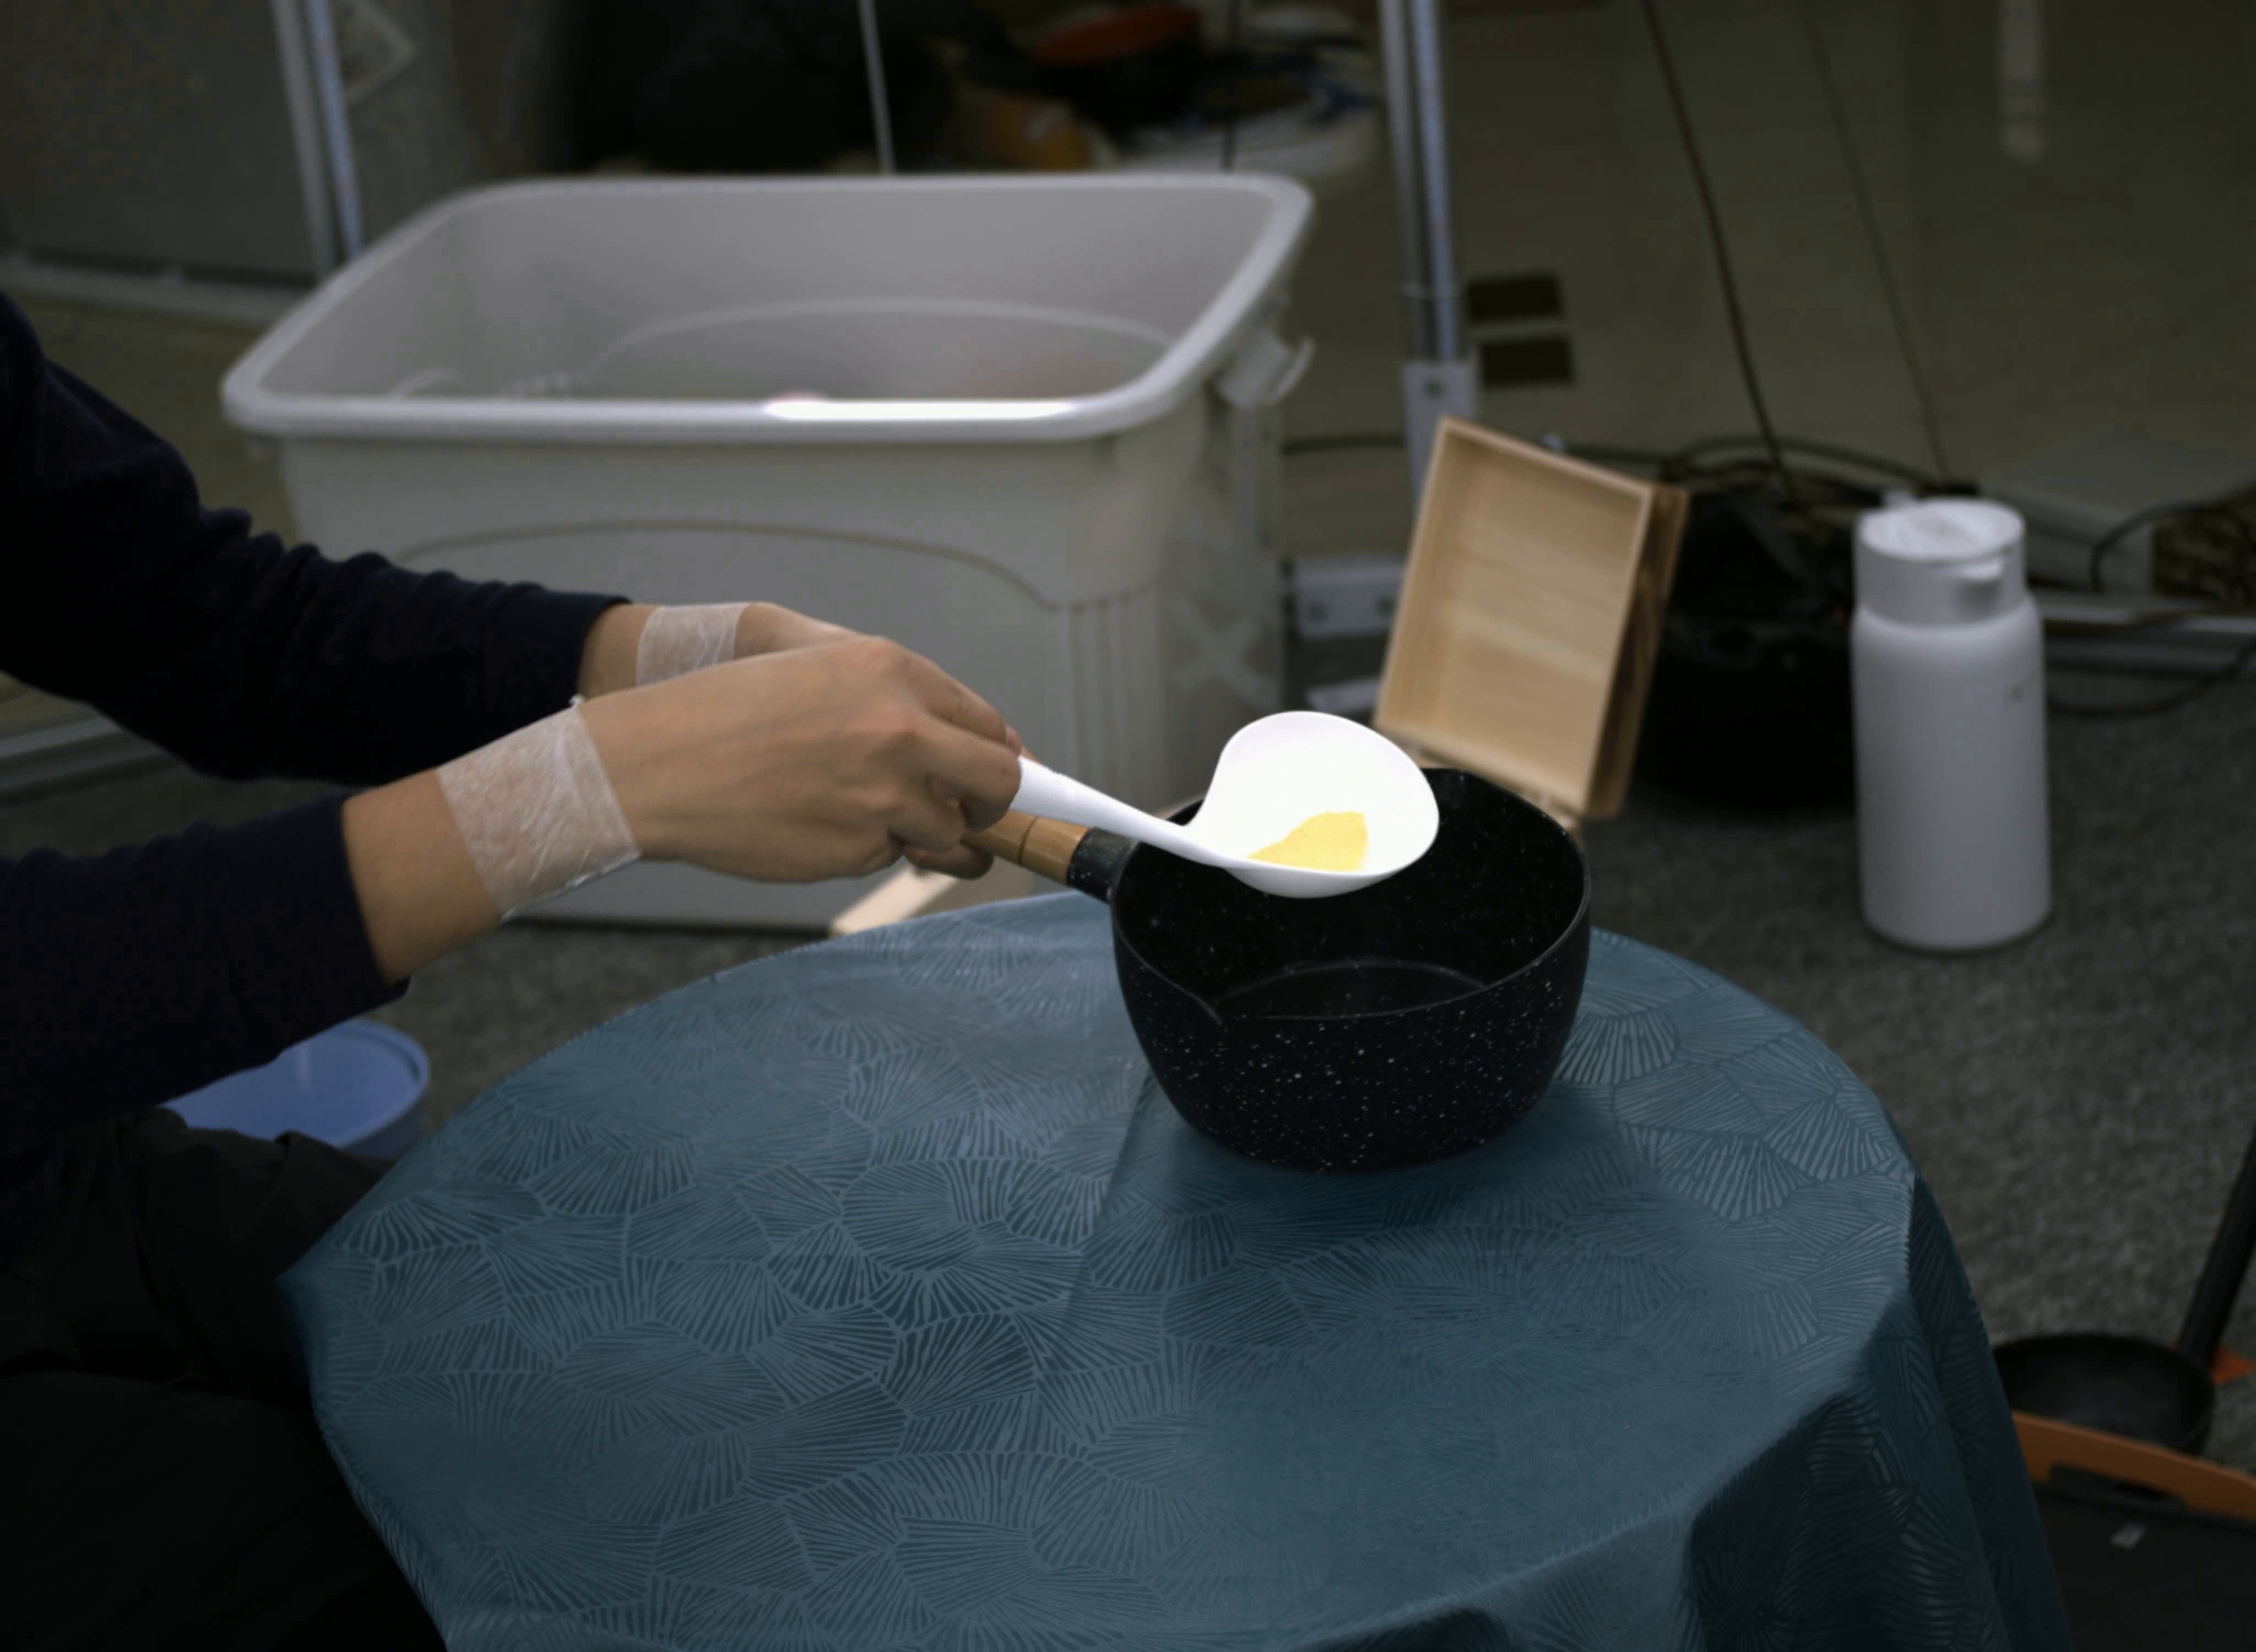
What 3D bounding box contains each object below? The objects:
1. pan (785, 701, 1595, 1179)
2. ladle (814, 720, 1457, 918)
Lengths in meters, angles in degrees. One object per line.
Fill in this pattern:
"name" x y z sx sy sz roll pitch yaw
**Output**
"pan" 0.017 0.034 2.206 0.341 0.110 0.204 13 36 24
"ladle" 0.006 -0.014 2.008 0.294 0.070 0.089 12 38 -52
